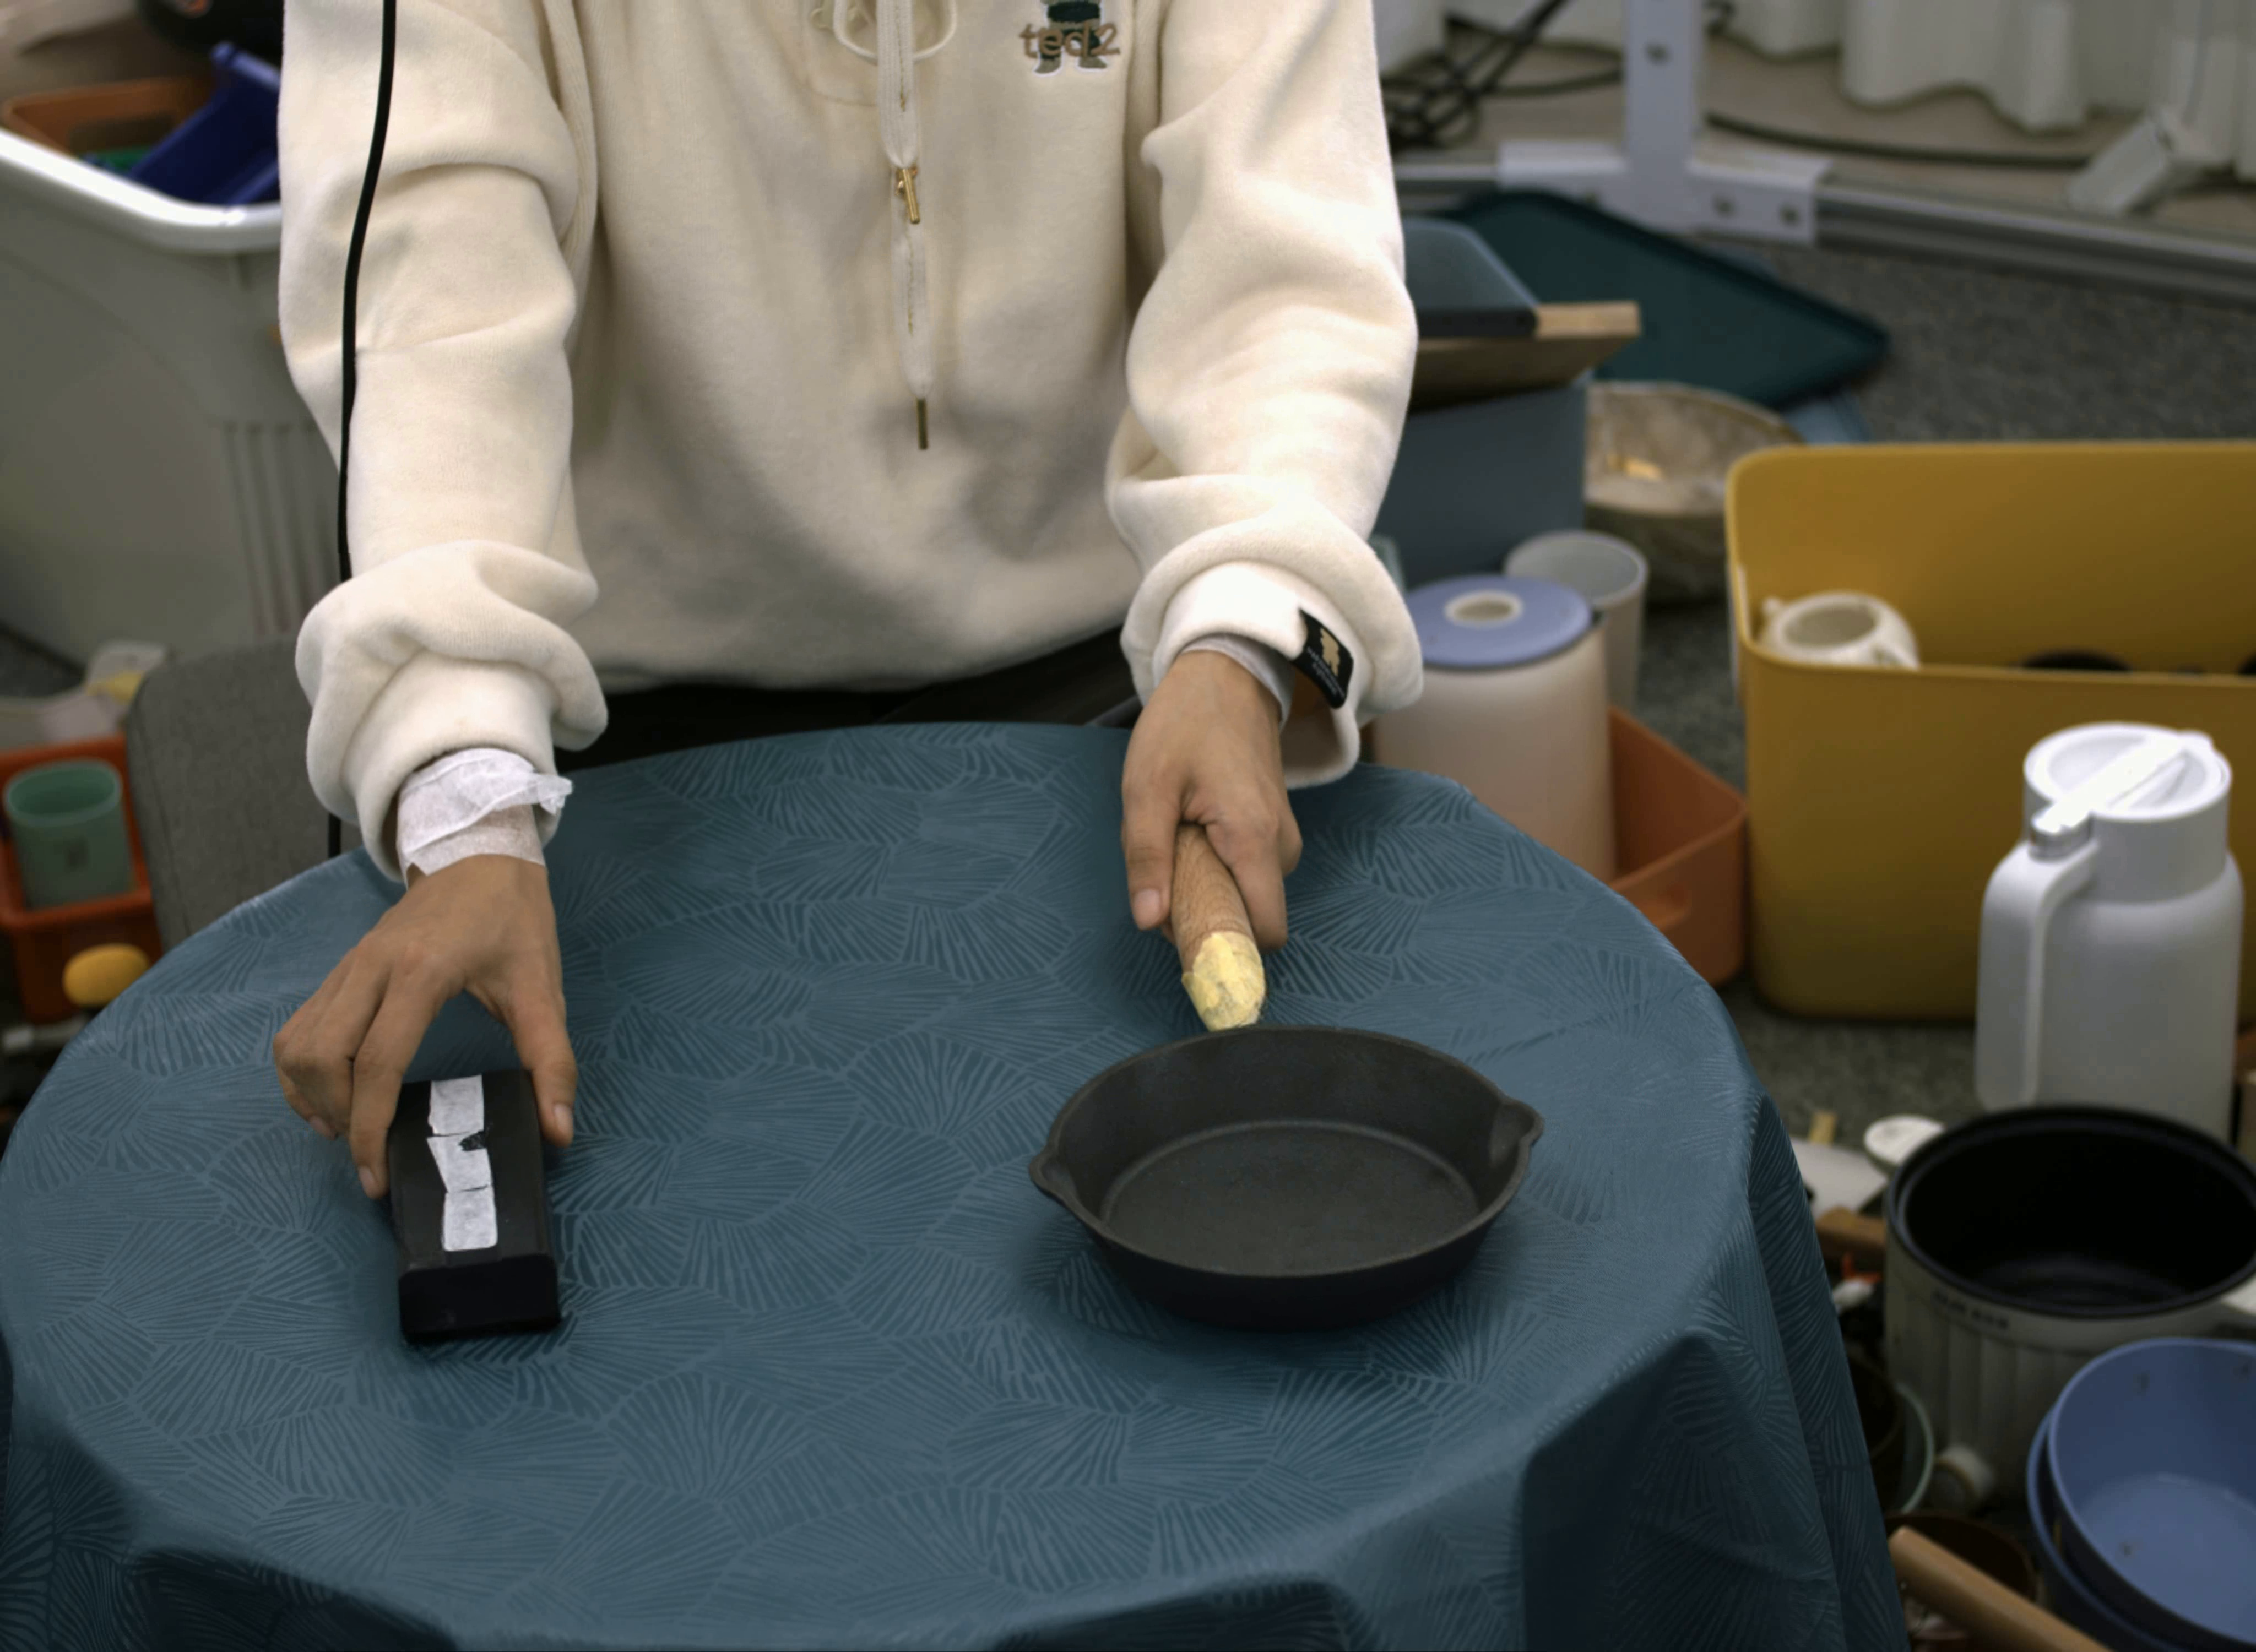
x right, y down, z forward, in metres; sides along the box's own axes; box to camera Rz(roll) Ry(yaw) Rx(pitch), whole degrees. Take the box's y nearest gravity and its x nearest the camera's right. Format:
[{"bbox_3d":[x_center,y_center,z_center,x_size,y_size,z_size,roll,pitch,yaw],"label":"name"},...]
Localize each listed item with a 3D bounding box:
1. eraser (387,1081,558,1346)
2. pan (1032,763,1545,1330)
[{"bbox_3d":[-0.215,0.127,1.843,0.053,0.030,0.127,-6,26,-6],"label":"eraser"},{"bbox_3d":[0.042,0.071,1.897,0.168,0.049,0.328,-6,28,-5],"label":"pan"}]
